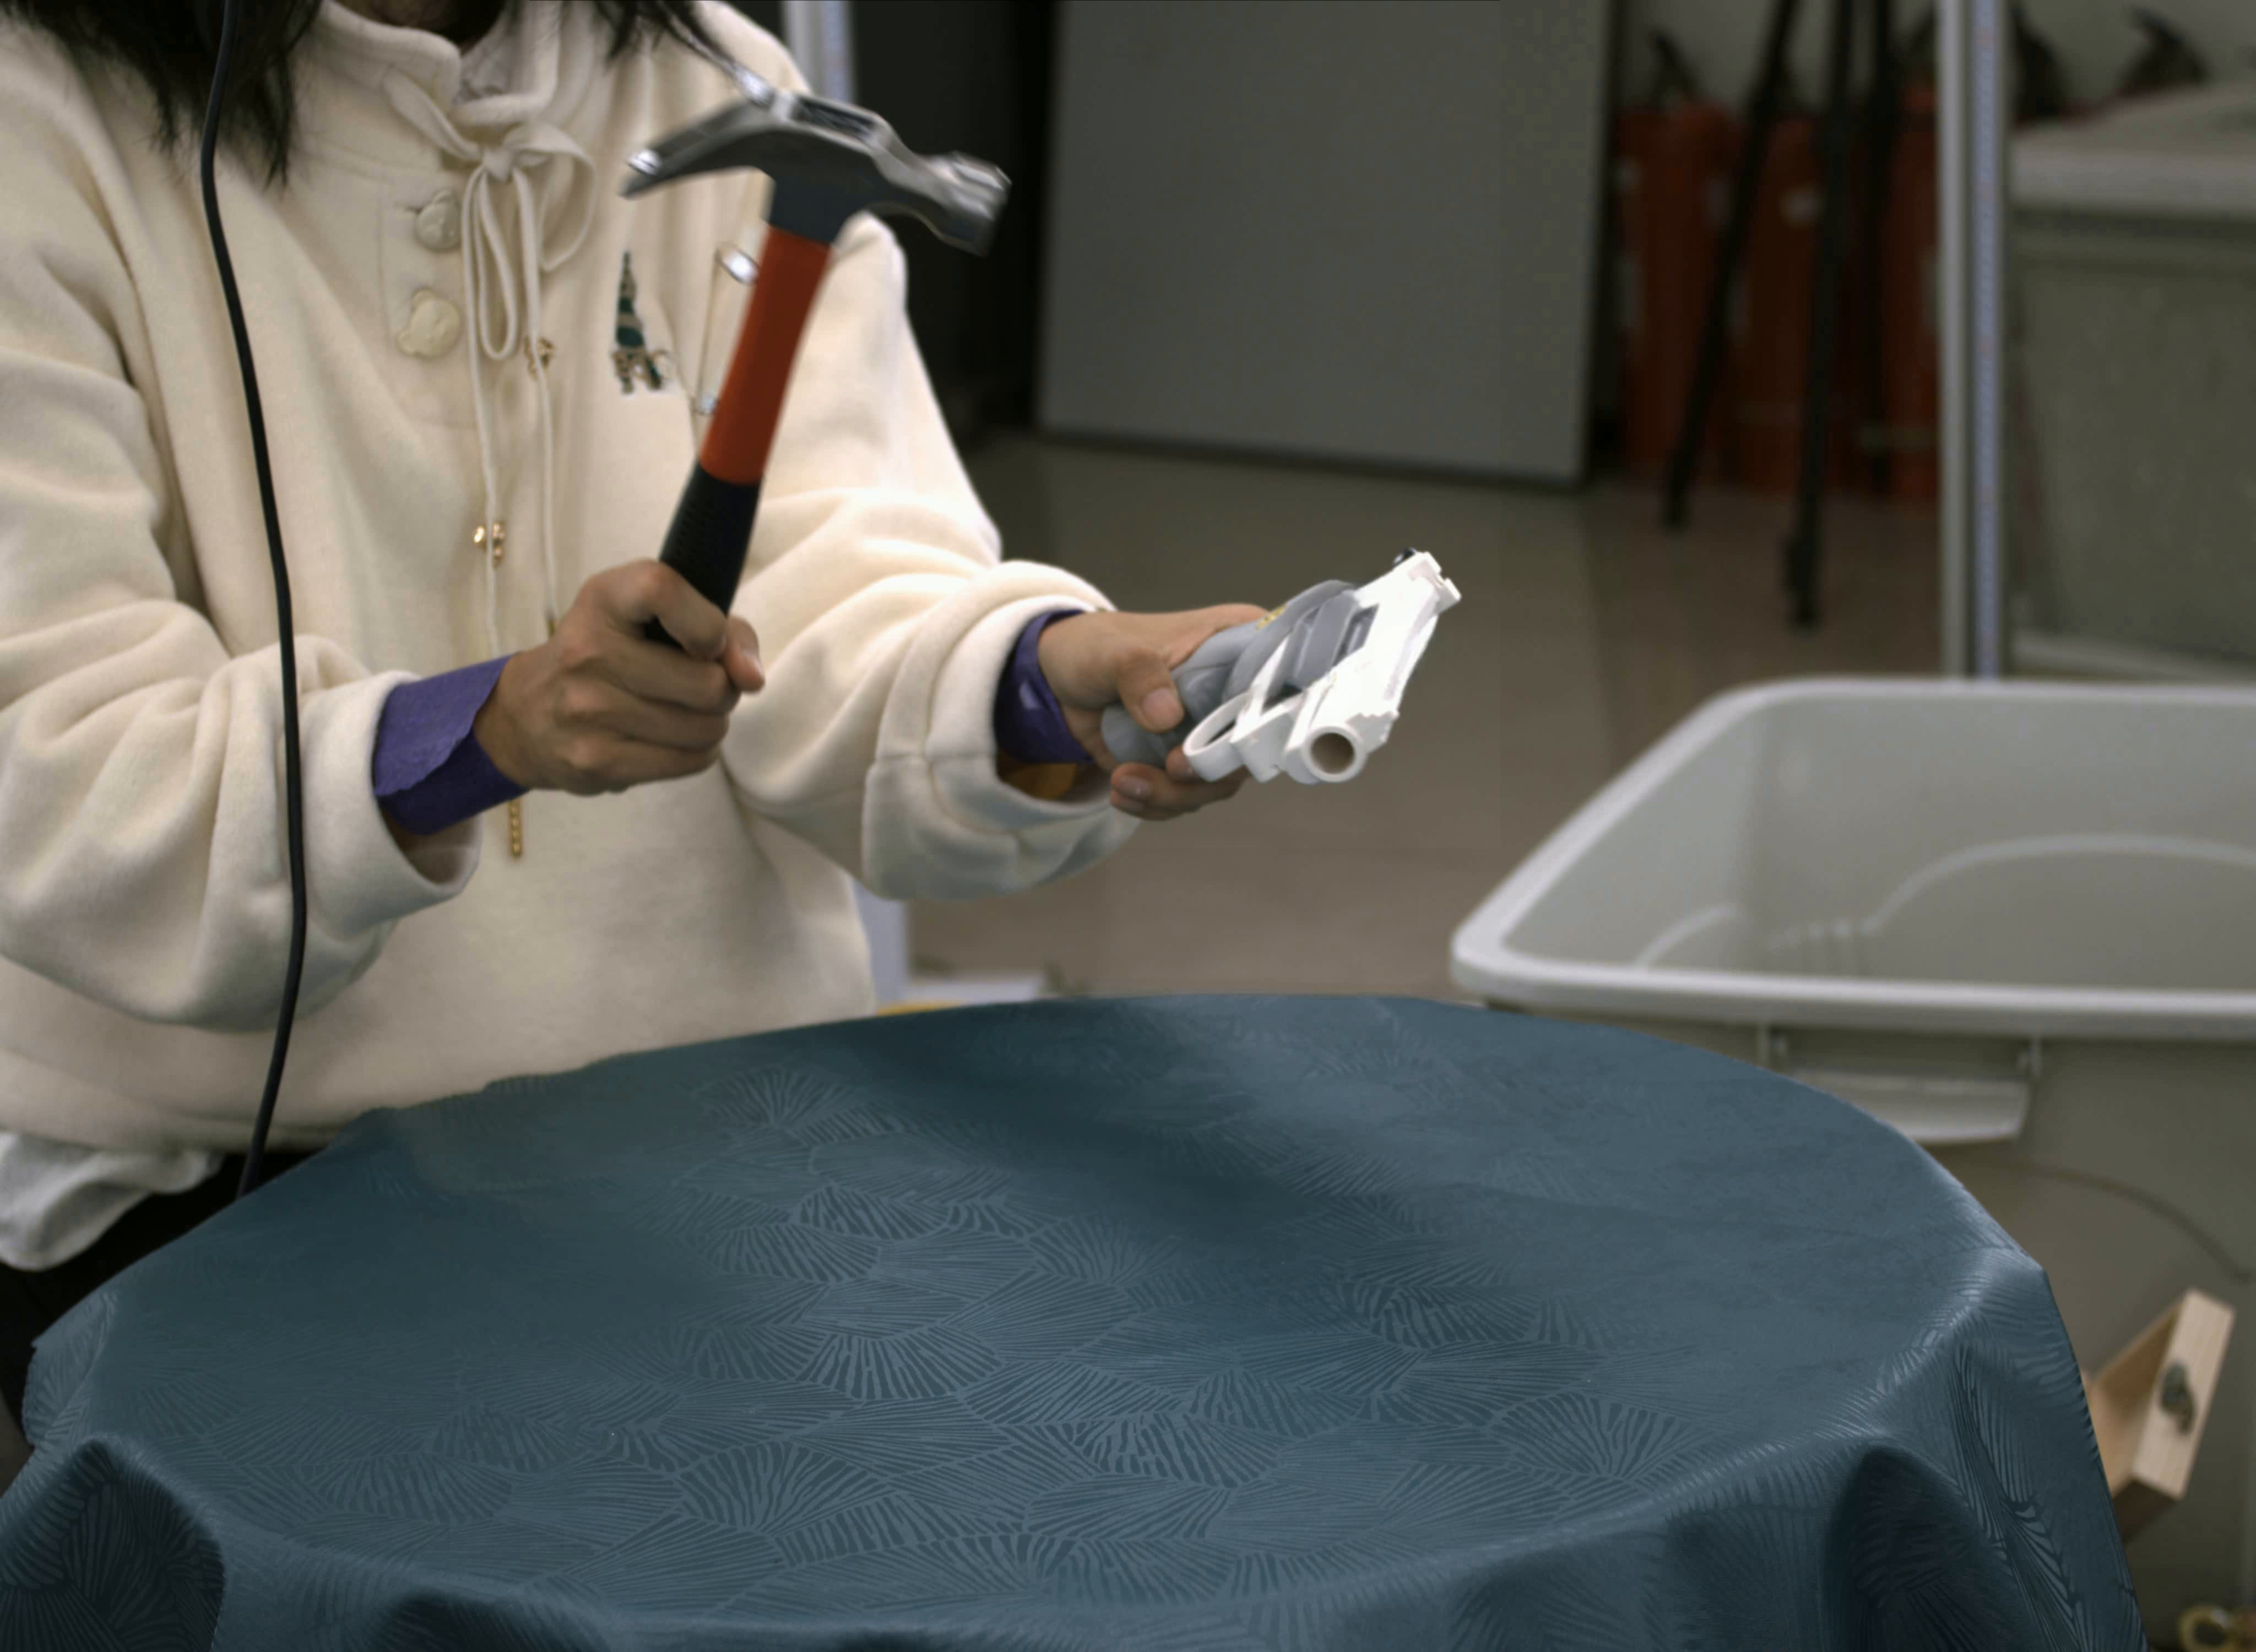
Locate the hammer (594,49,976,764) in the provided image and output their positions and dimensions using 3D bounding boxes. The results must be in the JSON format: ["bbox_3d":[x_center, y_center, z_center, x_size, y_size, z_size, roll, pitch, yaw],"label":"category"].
[{"bbox_3d":[-0.129,-0.126,1.712,0.109,0.280,0.026,11,42,-8],"label":"hammer"}]

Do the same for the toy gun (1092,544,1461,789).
[{"bbox_3d":[0.042,-0.038,1.715,0.142,0.039,0.208,-32,12,18],"label":"toy gun"}]
